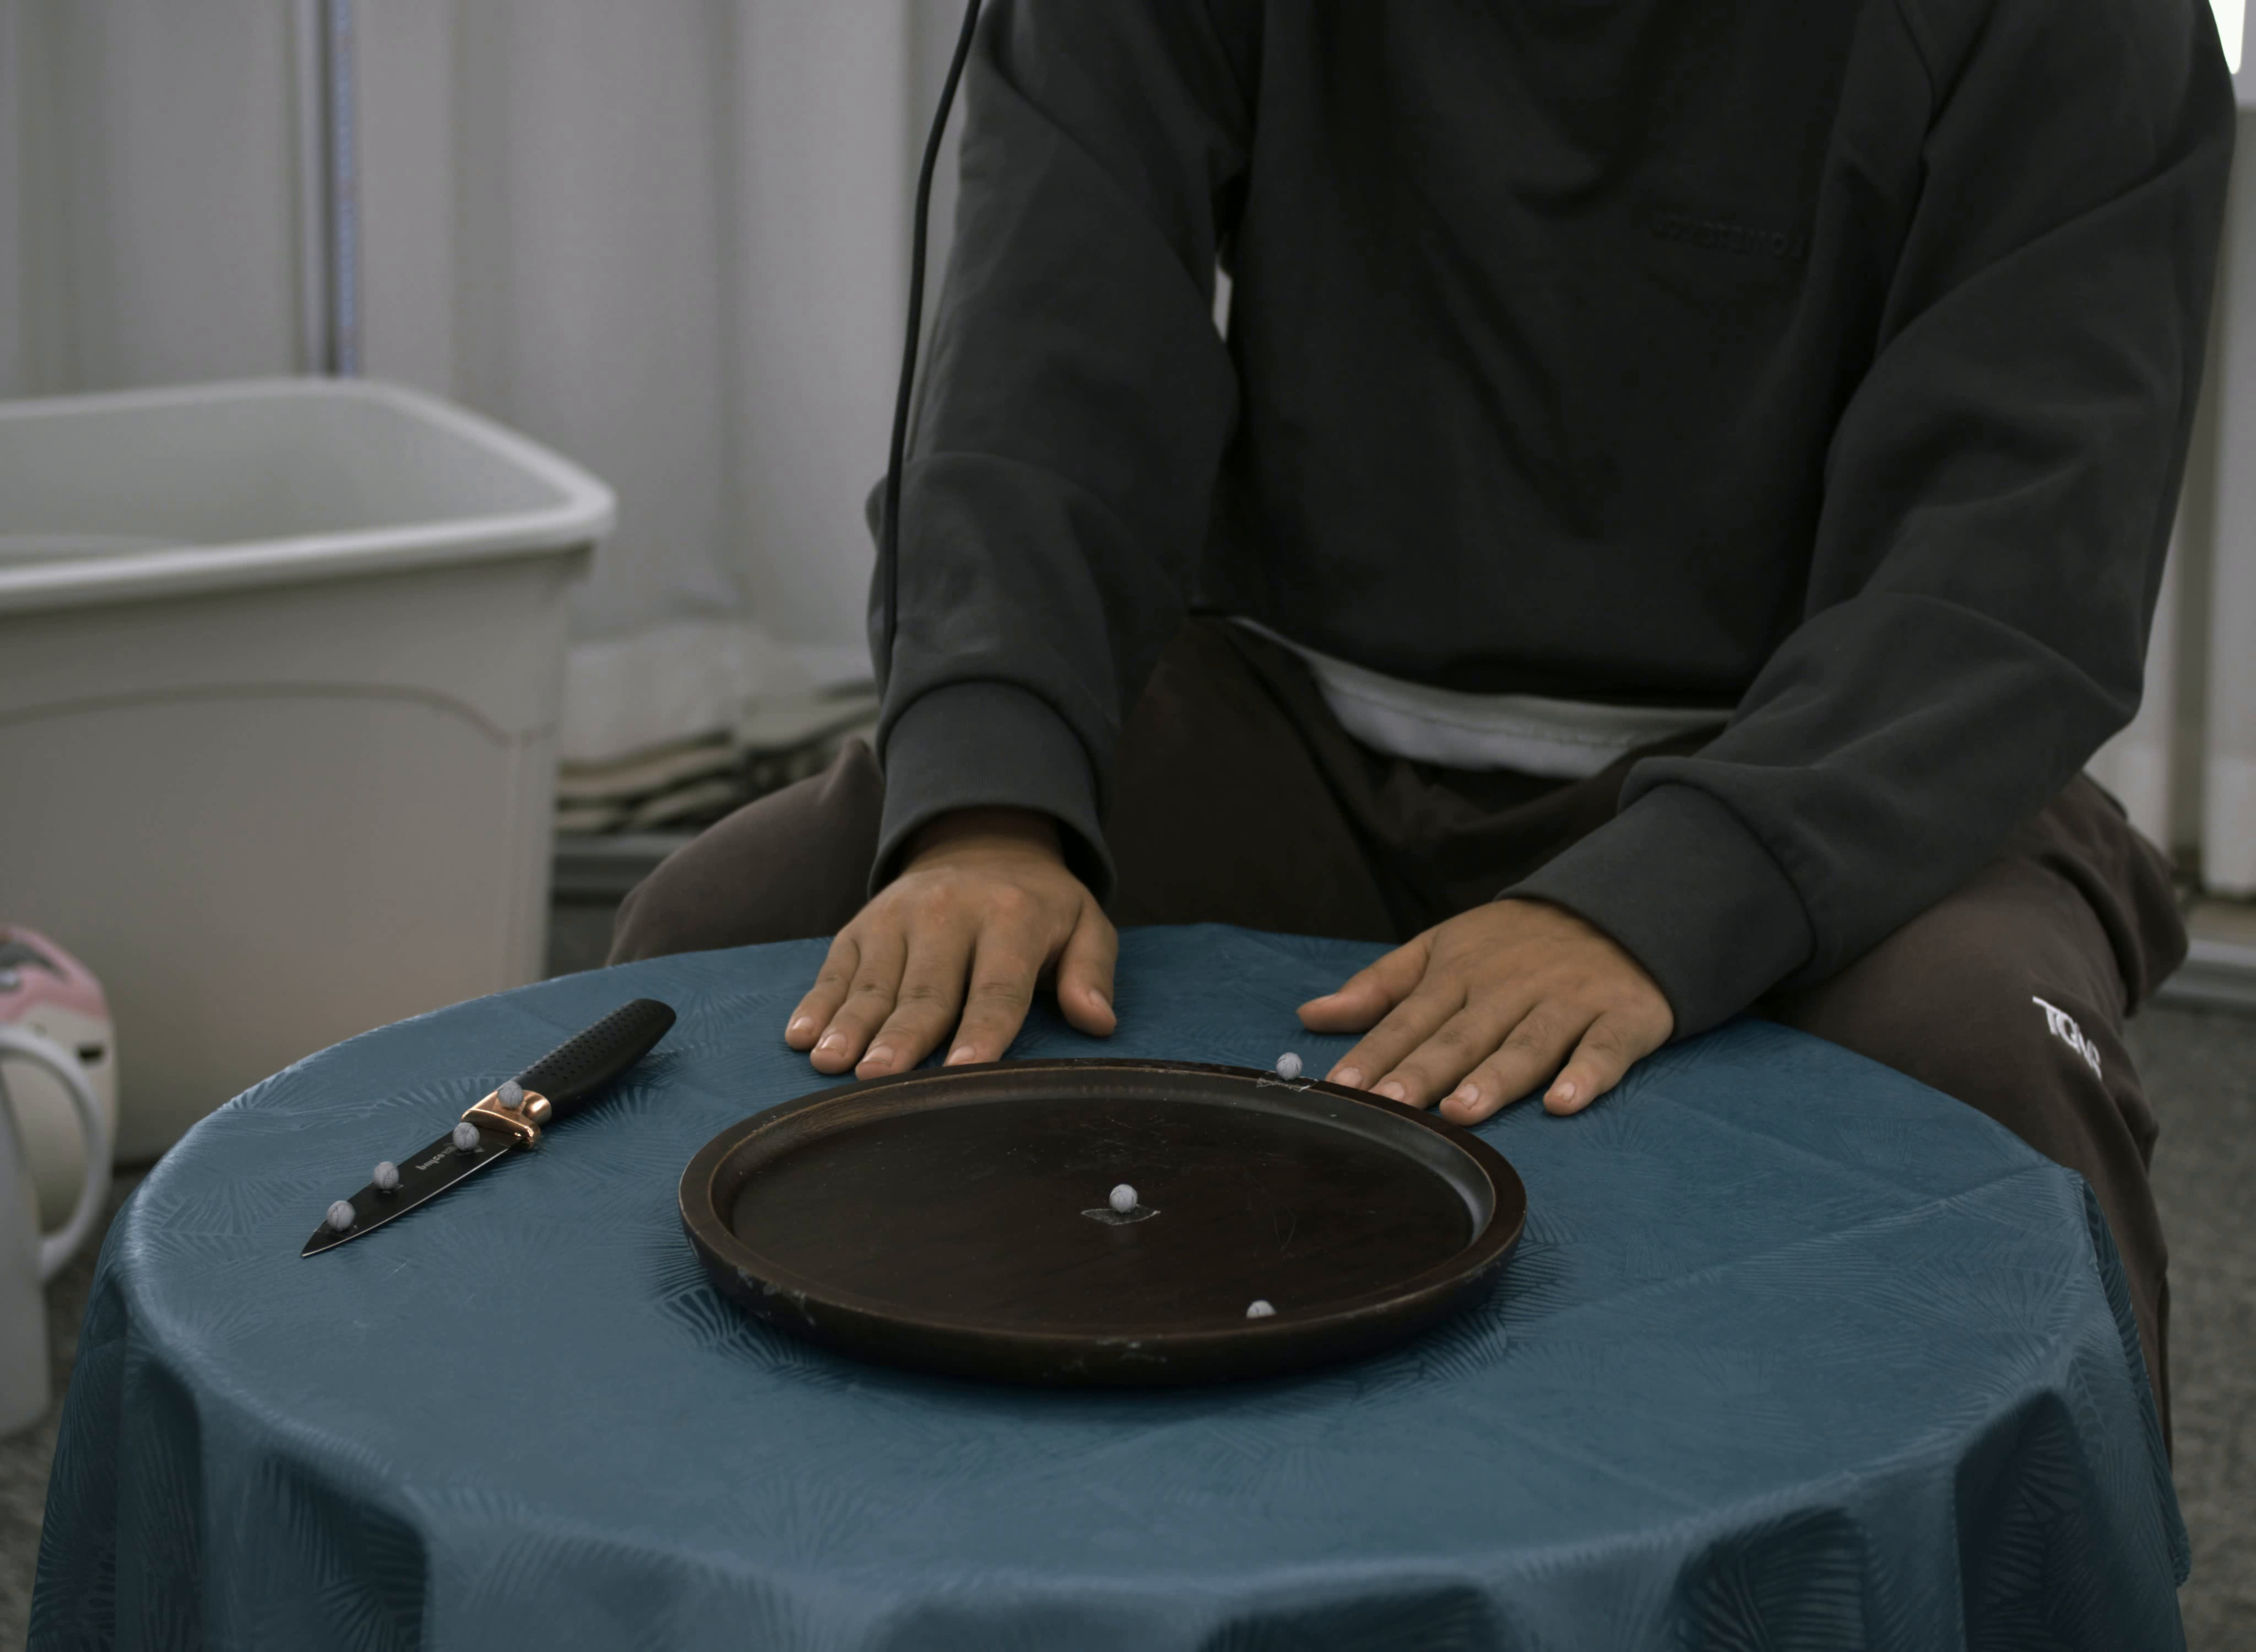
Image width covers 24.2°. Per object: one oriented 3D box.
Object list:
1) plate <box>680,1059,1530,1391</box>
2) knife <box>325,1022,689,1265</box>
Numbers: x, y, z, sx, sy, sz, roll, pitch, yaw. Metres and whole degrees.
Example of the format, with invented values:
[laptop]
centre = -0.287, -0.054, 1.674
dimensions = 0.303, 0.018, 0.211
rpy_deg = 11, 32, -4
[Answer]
[plate]
centre = -0.007, 0.116, 1.569
dimensions = 0.254, 0.029, 0.253
rpy_deg = 0, 14, 0
[knife]
centre = -0.196, 0.098, 1.649
dimensions = 0.026, 0.017, 0.226
rpy_deg = 13, 20, 21
